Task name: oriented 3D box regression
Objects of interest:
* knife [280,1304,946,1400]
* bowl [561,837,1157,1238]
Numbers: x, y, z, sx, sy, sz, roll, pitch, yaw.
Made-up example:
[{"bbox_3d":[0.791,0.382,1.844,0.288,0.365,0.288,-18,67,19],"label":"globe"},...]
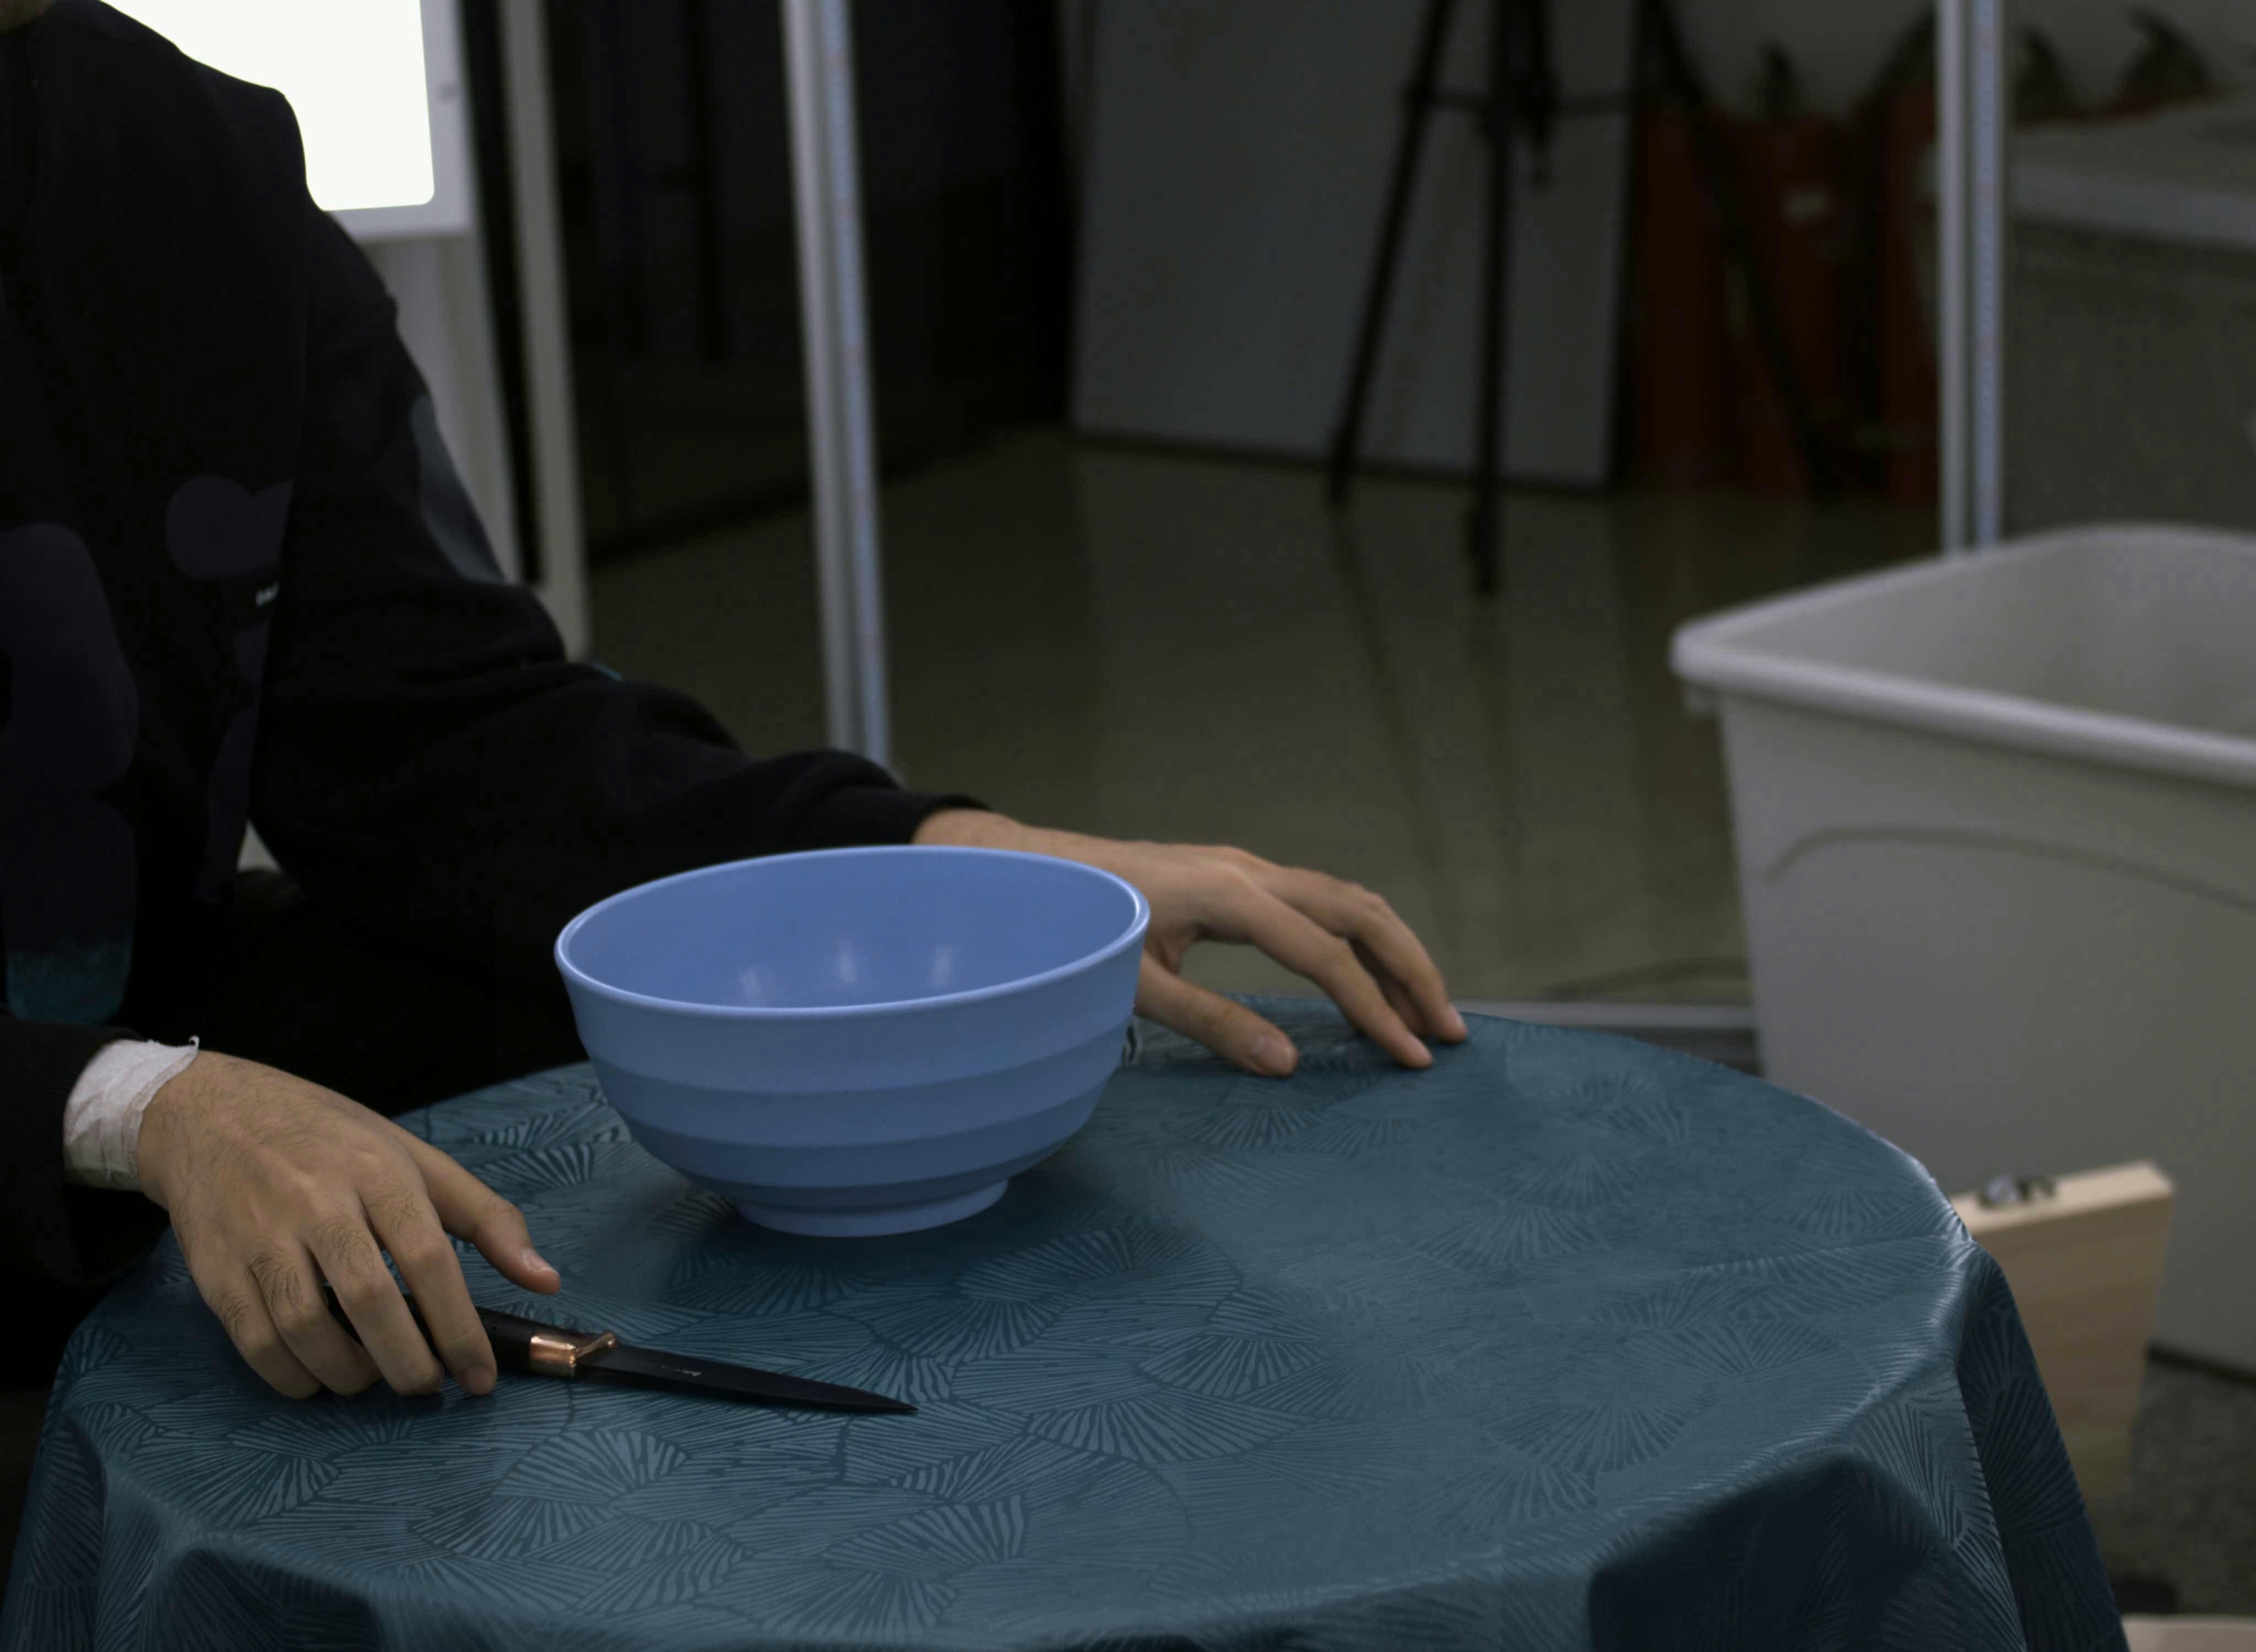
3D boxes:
[{"bbox_3d":[-0.157,0.161,1.632,0.226,0.017,0.026,4,13,26],"label":"knife"},{"bbox_3d":[-0.087,0.075,1.773,0.194,0.096,0.197,-1,15,-1],"label":"bowl"}]
